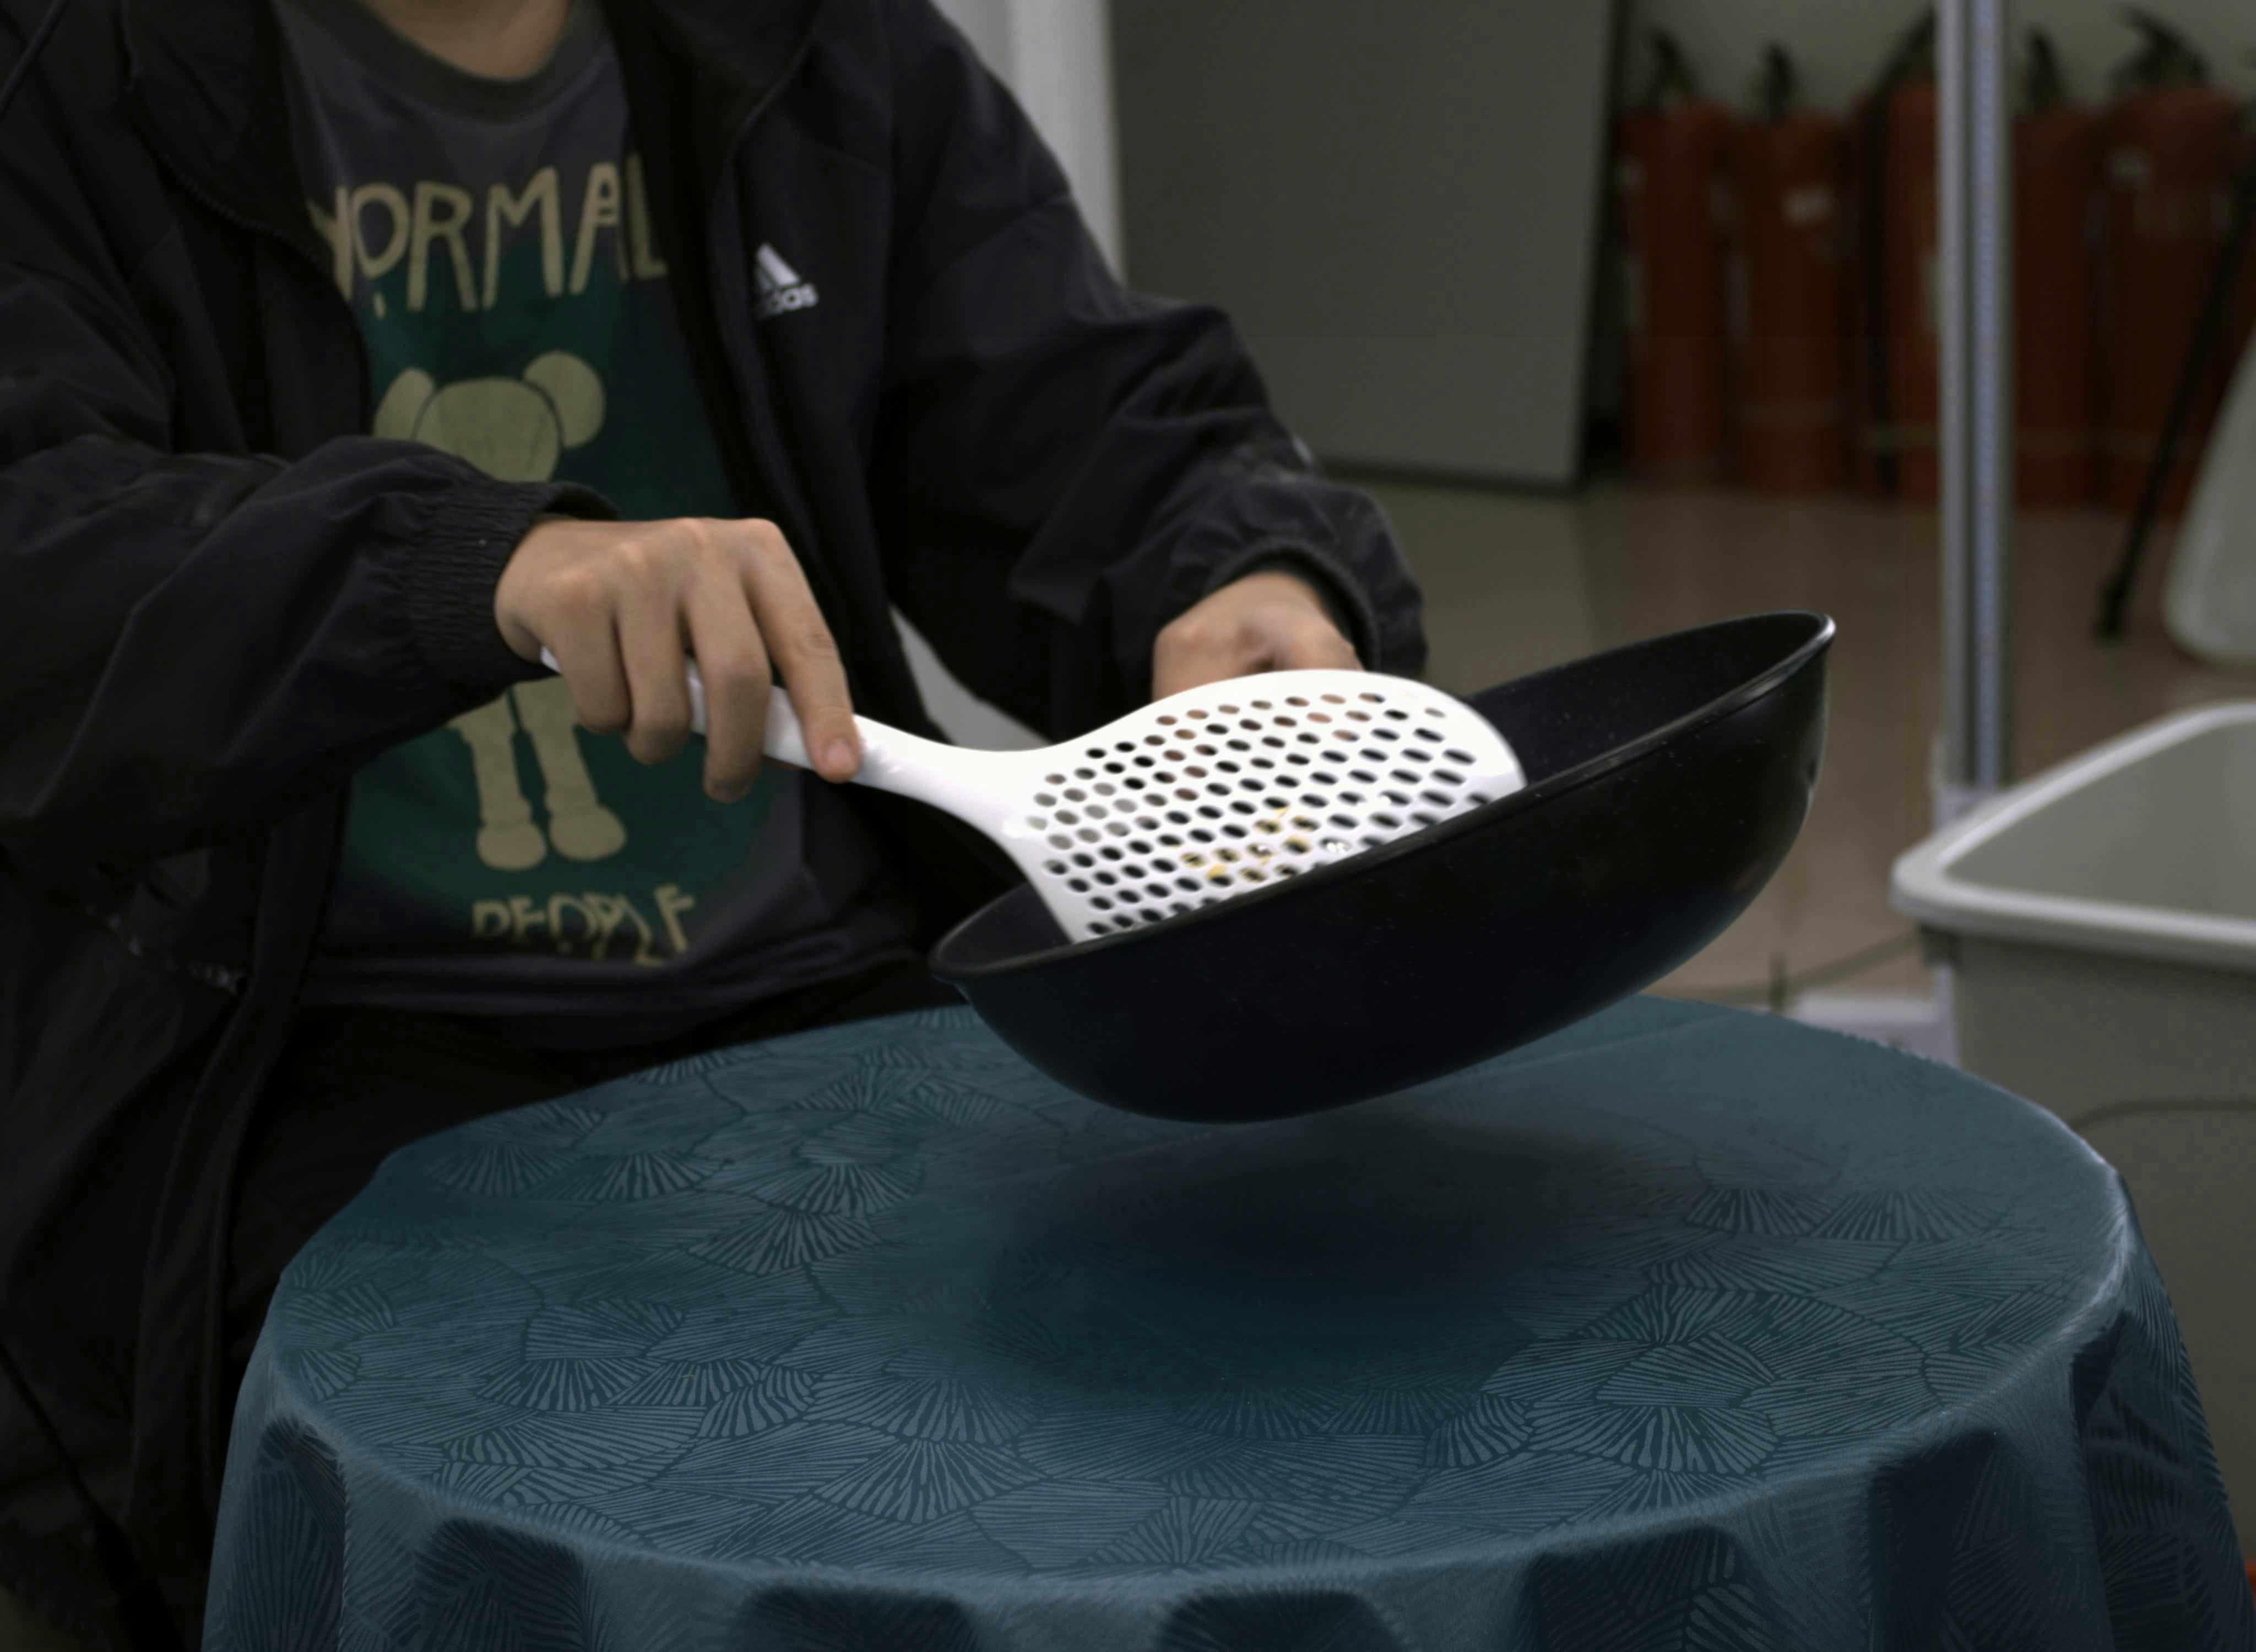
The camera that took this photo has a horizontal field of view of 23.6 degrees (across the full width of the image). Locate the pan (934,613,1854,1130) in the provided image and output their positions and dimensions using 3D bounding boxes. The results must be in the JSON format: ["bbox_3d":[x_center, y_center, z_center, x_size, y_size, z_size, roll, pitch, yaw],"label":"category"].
[{"bbox_3d":[0.079,0.011,1.786,0.306,0.112,0.479,-21,6,-6],"label":"pan"}]

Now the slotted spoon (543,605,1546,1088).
[{"bbox_3d":[-0.033,-0.015,1.705,0.349,0.138,0.049,15,-4,28],"label":"slotted spoon"}]
